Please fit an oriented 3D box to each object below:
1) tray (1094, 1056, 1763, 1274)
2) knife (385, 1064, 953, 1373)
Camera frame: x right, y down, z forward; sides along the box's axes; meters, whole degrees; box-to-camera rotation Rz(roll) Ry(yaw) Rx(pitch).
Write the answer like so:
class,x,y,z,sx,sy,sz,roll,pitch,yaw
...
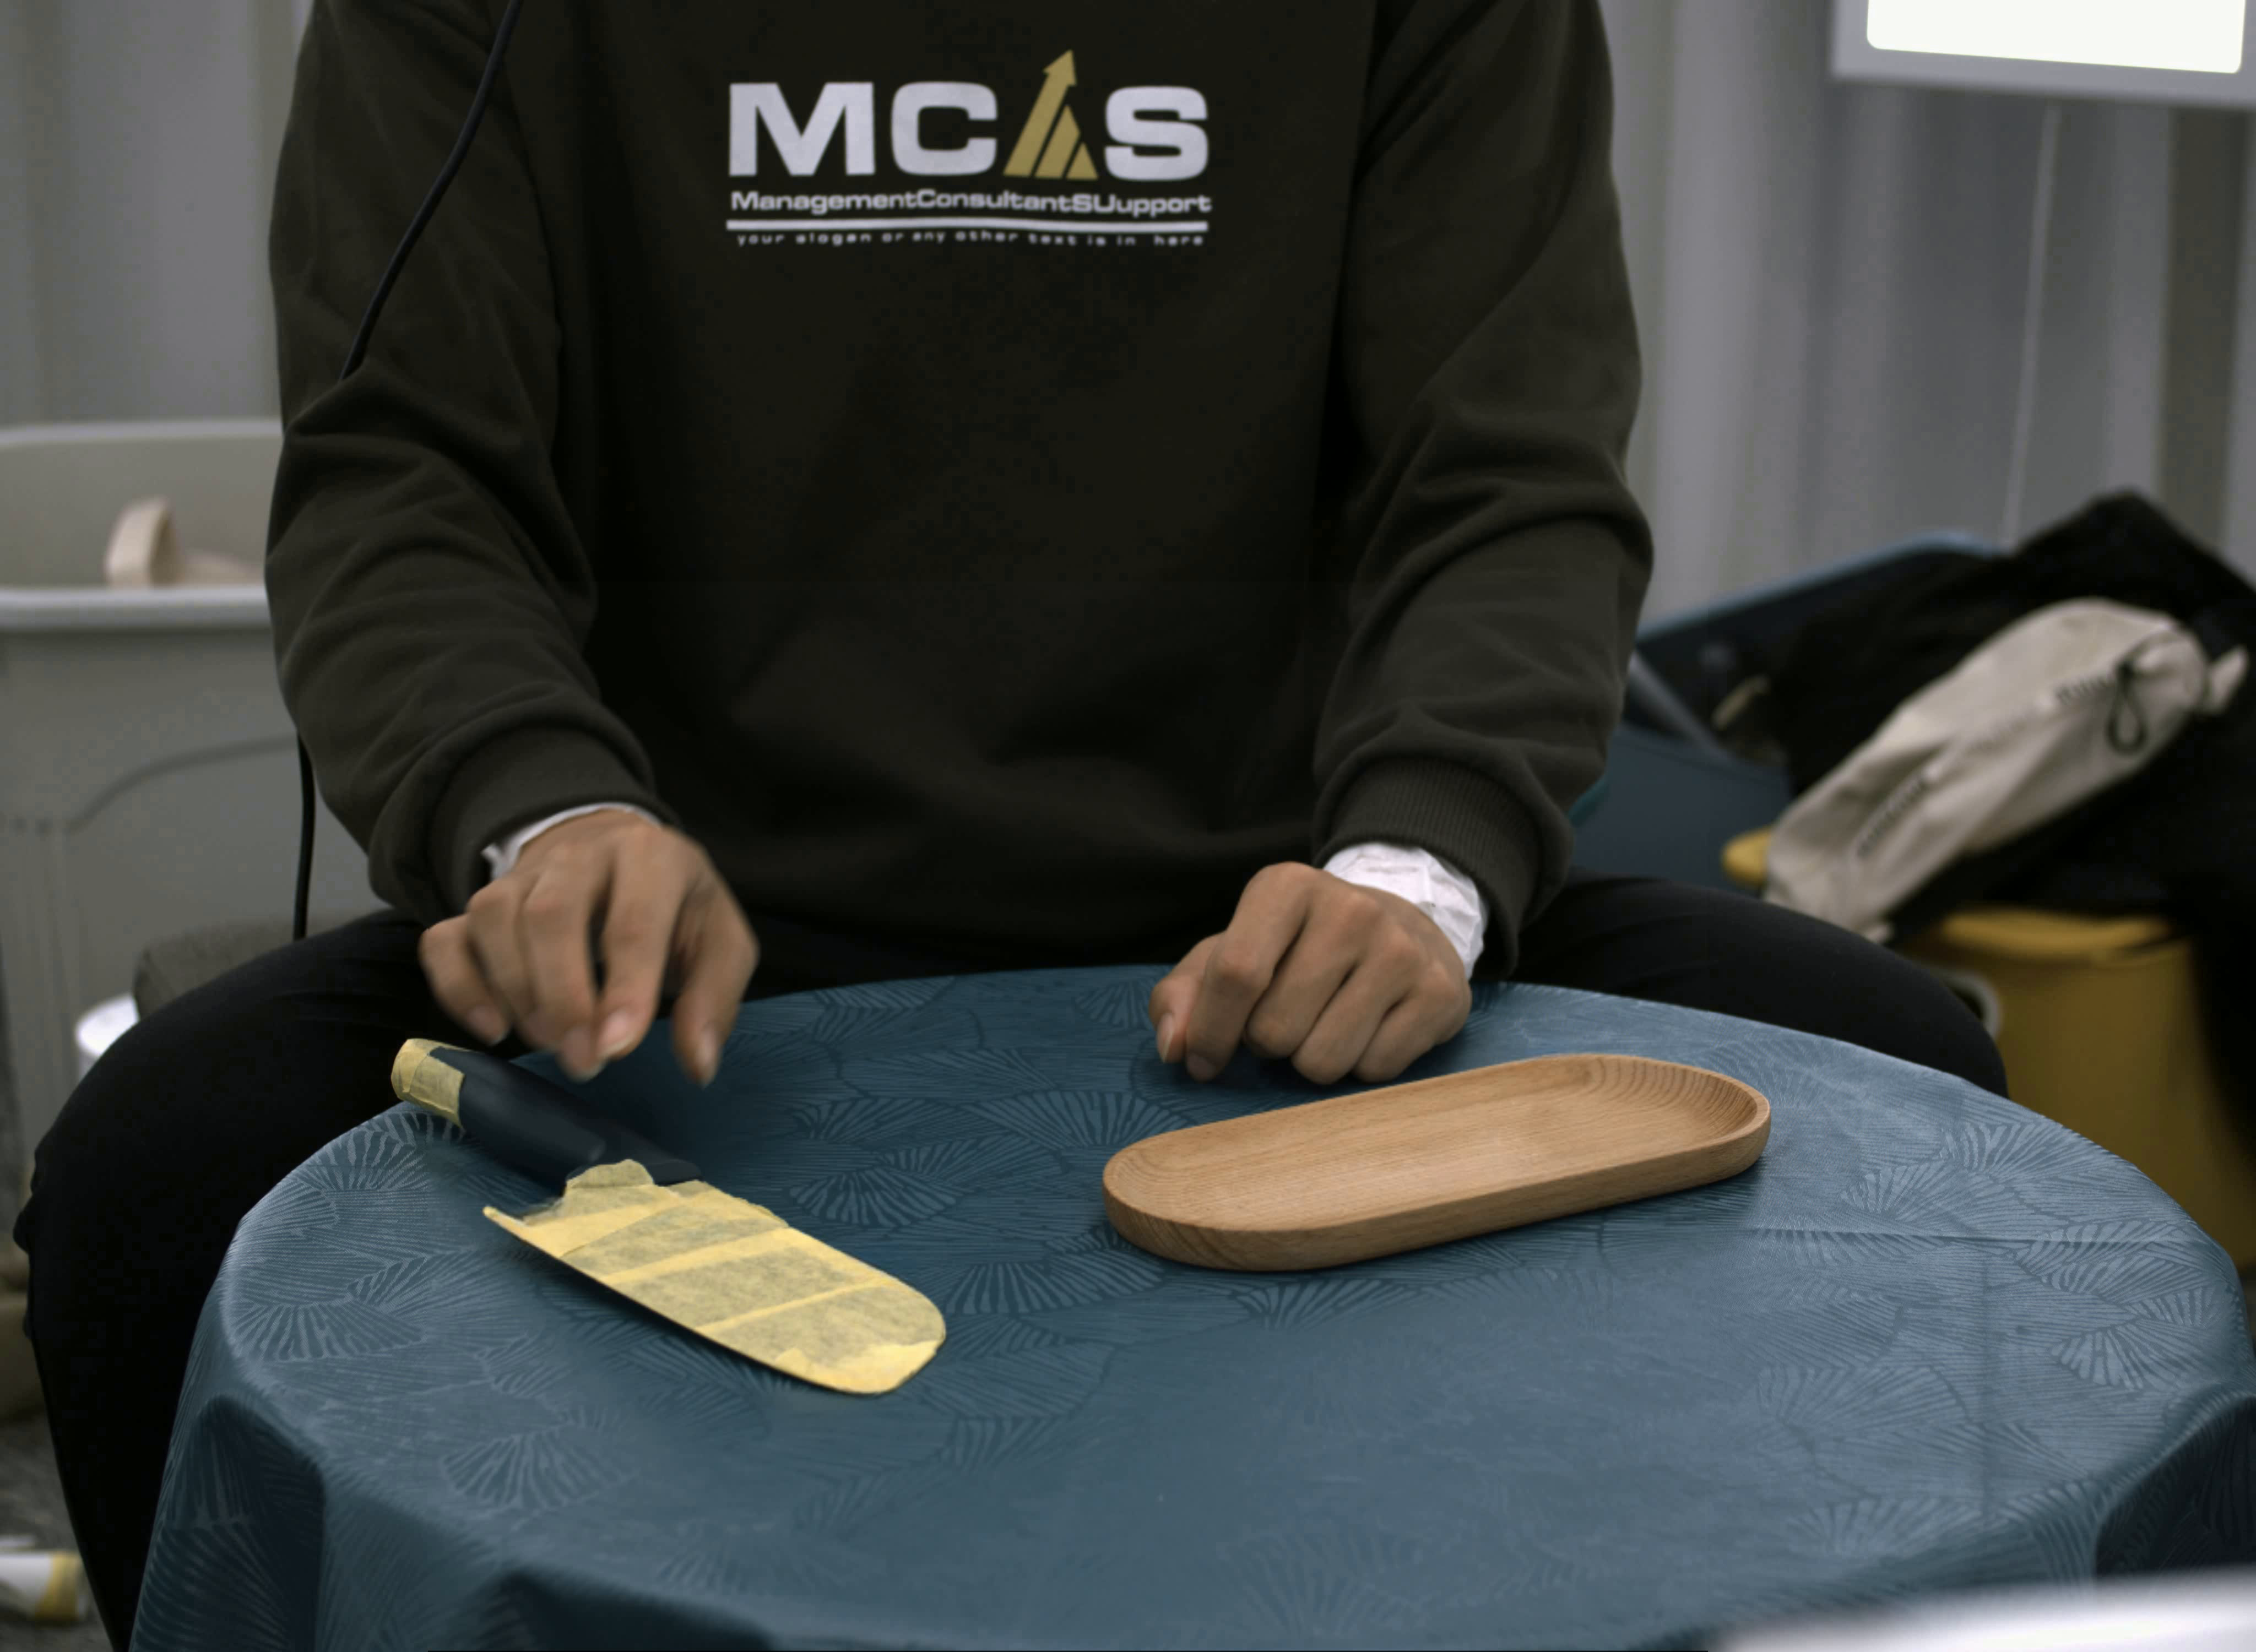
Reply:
class,x,y,z,sx,sy,sz,roll,pitch,yaw
tray,0.095,0.104,1.628,0.232,0.020,0.100,-11,18,-32
knife,-0.149,0.118,1.570,0.081,0.027,0.285,-7,18,-39
